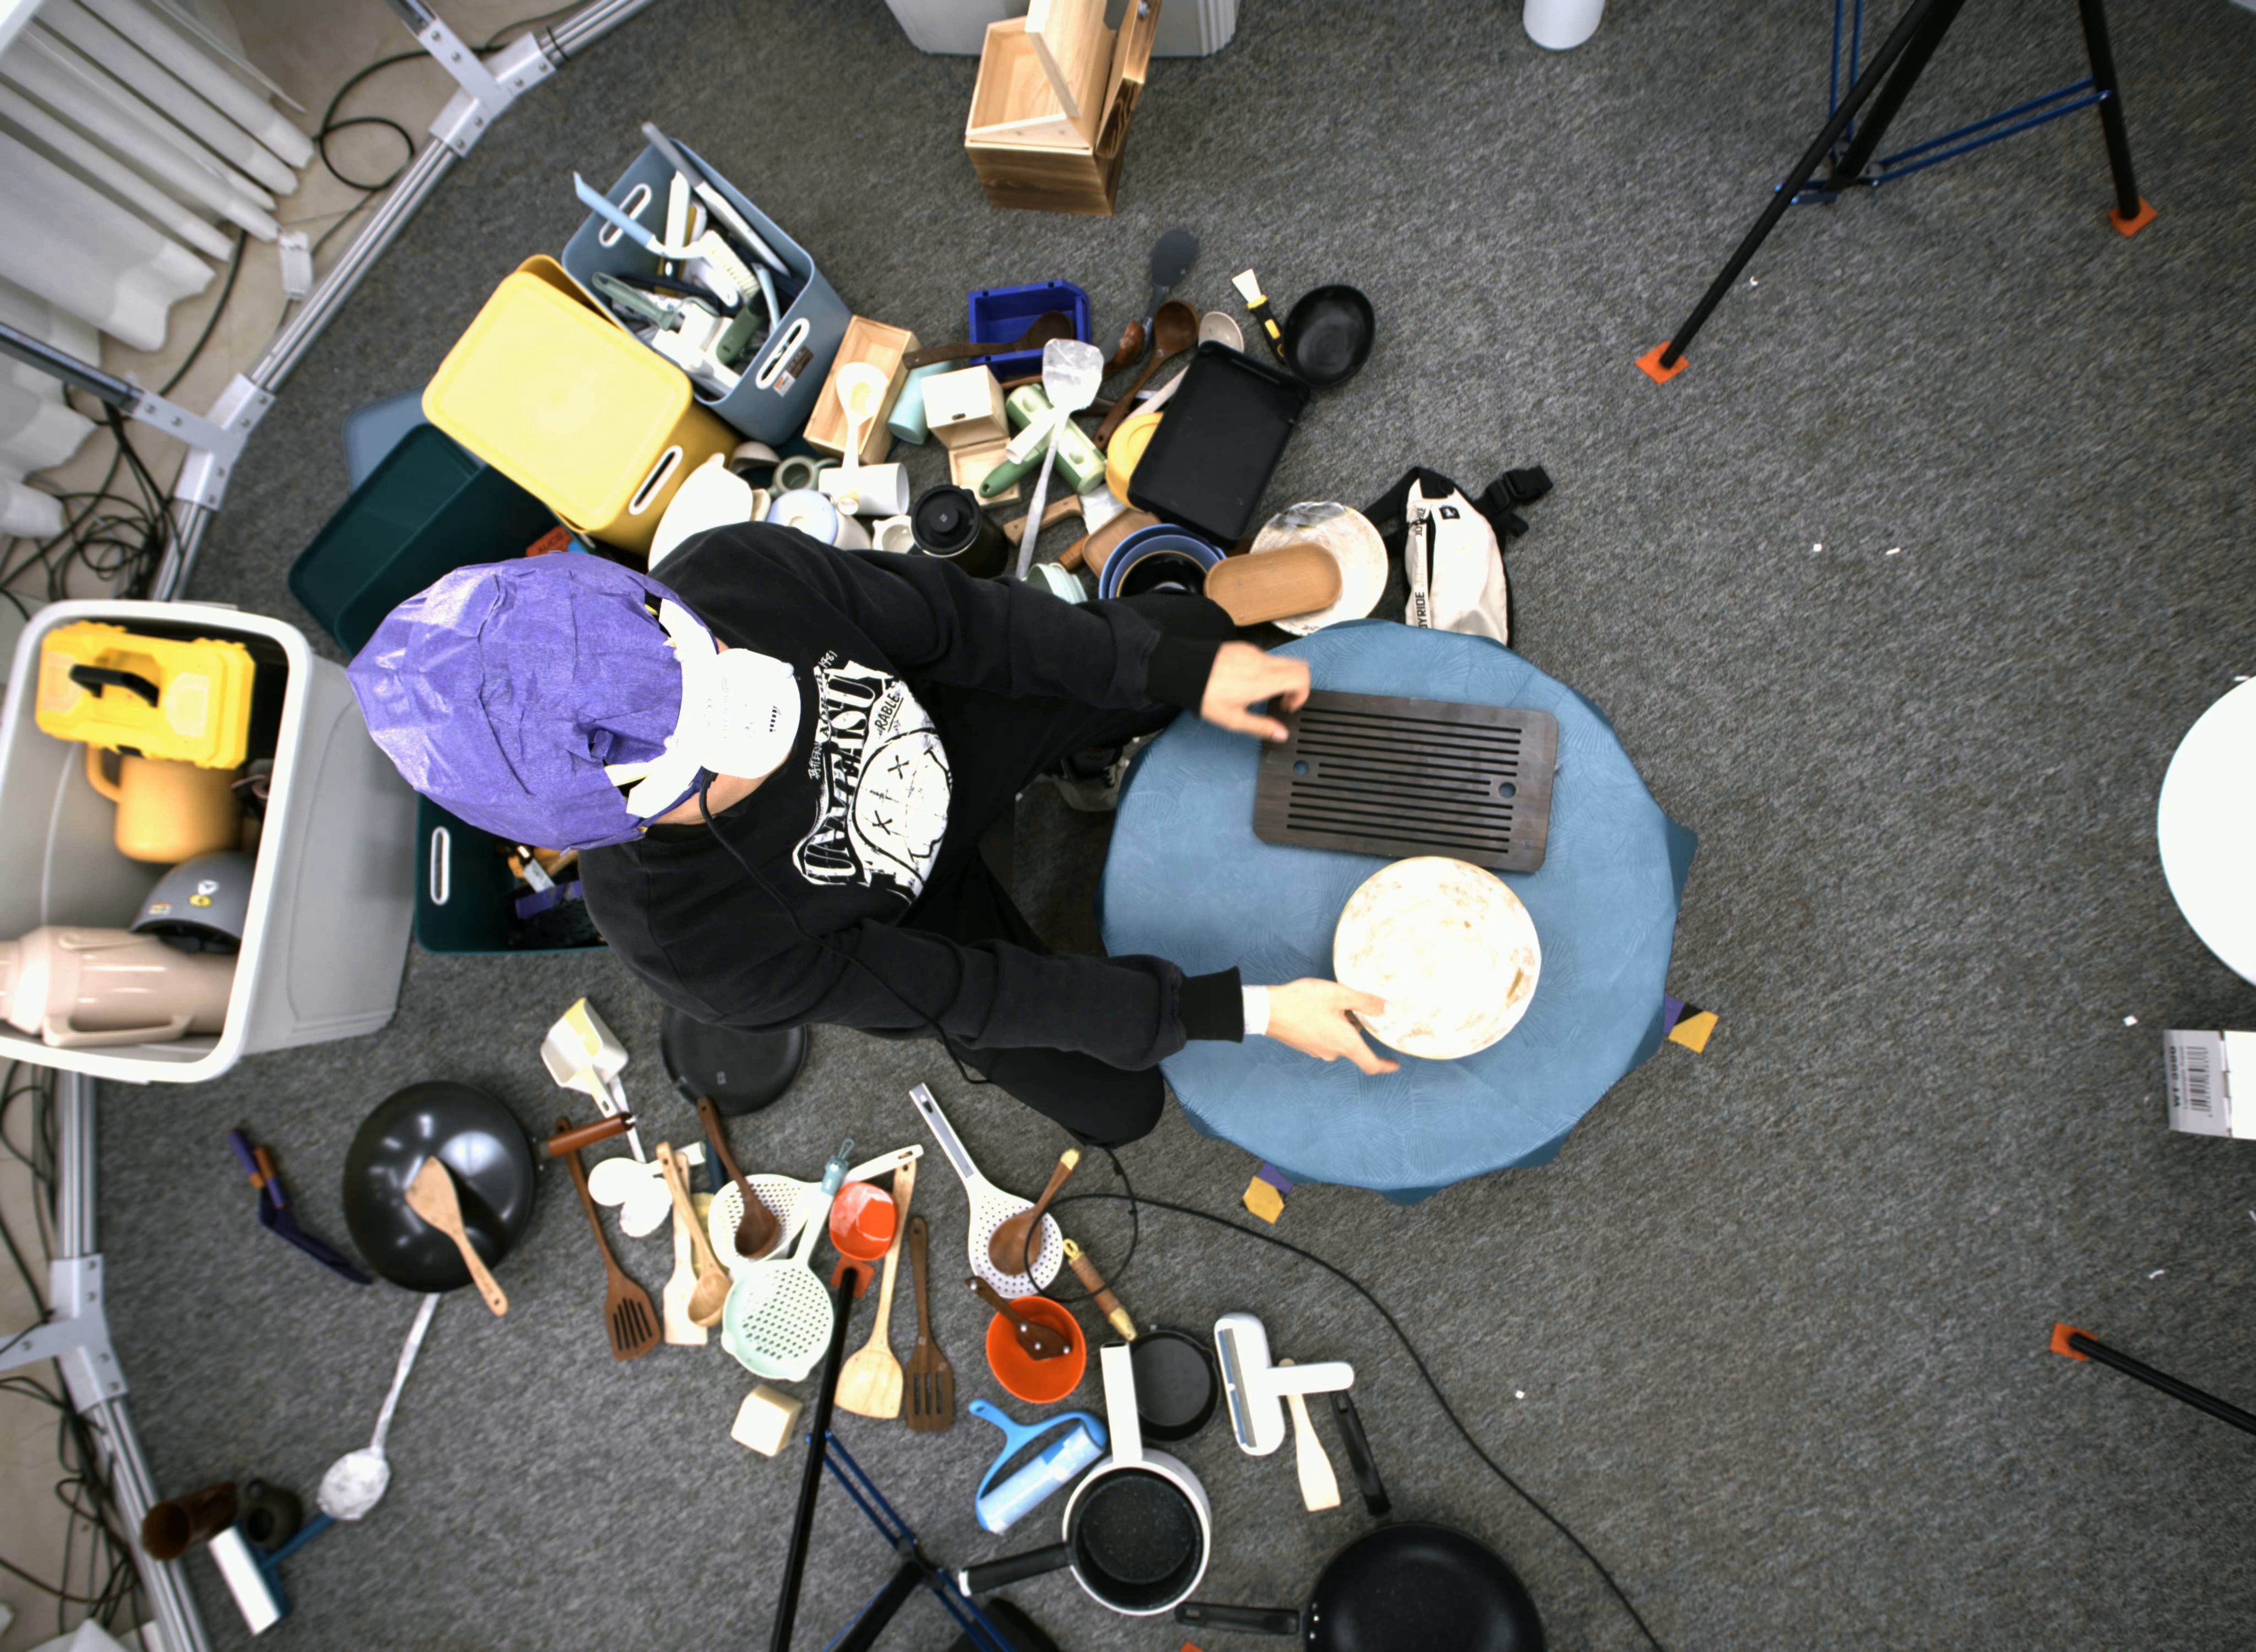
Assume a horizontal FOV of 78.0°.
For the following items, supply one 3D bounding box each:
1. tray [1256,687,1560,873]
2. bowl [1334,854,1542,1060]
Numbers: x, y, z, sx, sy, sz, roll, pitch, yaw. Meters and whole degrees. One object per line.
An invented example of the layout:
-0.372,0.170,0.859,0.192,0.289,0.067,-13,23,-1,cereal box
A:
0.295,-0.051,1.460,0.307,0.018,0.169,7,87,11,tray
0.311,0.130,1.406,0.215,0.094,0.214,-1,87,11,bowl
